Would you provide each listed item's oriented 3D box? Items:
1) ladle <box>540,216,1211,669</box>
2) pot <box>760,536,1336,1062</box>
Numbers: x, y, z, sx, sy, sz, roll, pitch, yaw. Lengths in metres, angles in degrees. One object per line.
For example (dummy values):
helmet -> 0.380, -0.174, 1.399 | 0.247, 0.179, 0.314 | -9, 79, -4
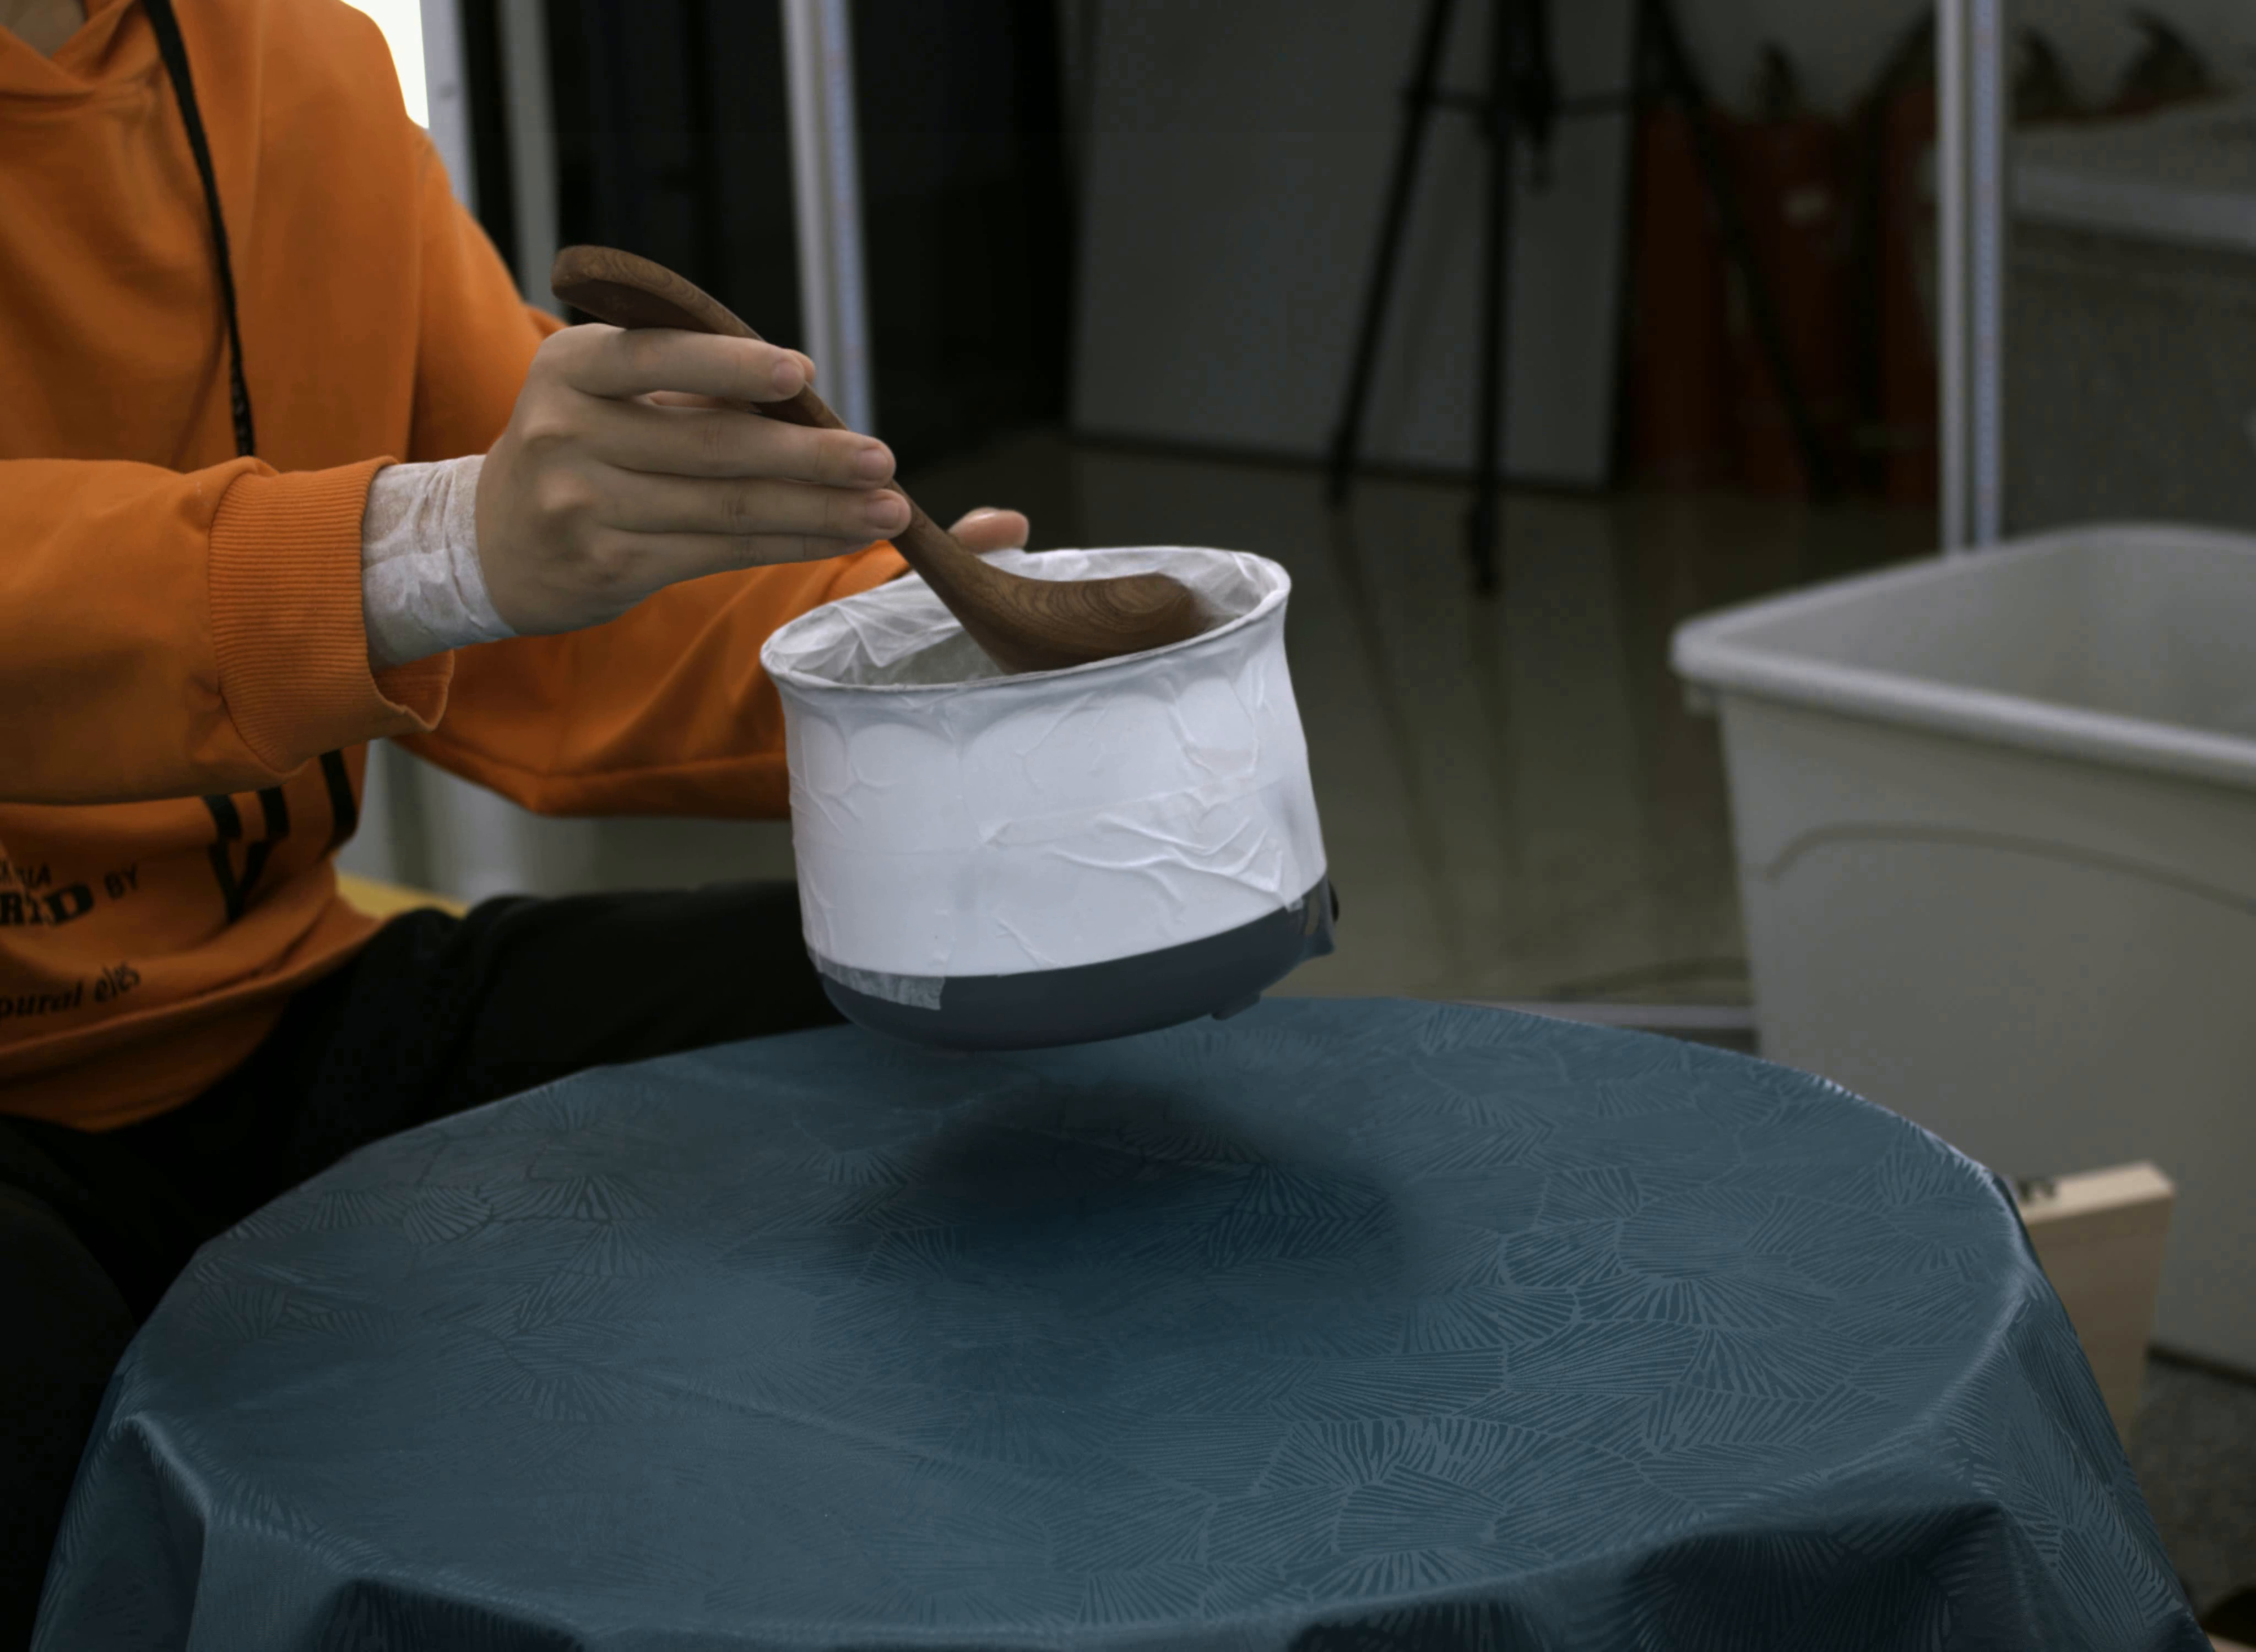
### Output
ladle -> -0.076, -0.121, 1.668 | 0.077, 0.257, 0.065 | -28, 33, 39
pot -> -0.028, -0.016, 1.802 | 0.176, 0.138, 0.235 | -9, 14, -5
